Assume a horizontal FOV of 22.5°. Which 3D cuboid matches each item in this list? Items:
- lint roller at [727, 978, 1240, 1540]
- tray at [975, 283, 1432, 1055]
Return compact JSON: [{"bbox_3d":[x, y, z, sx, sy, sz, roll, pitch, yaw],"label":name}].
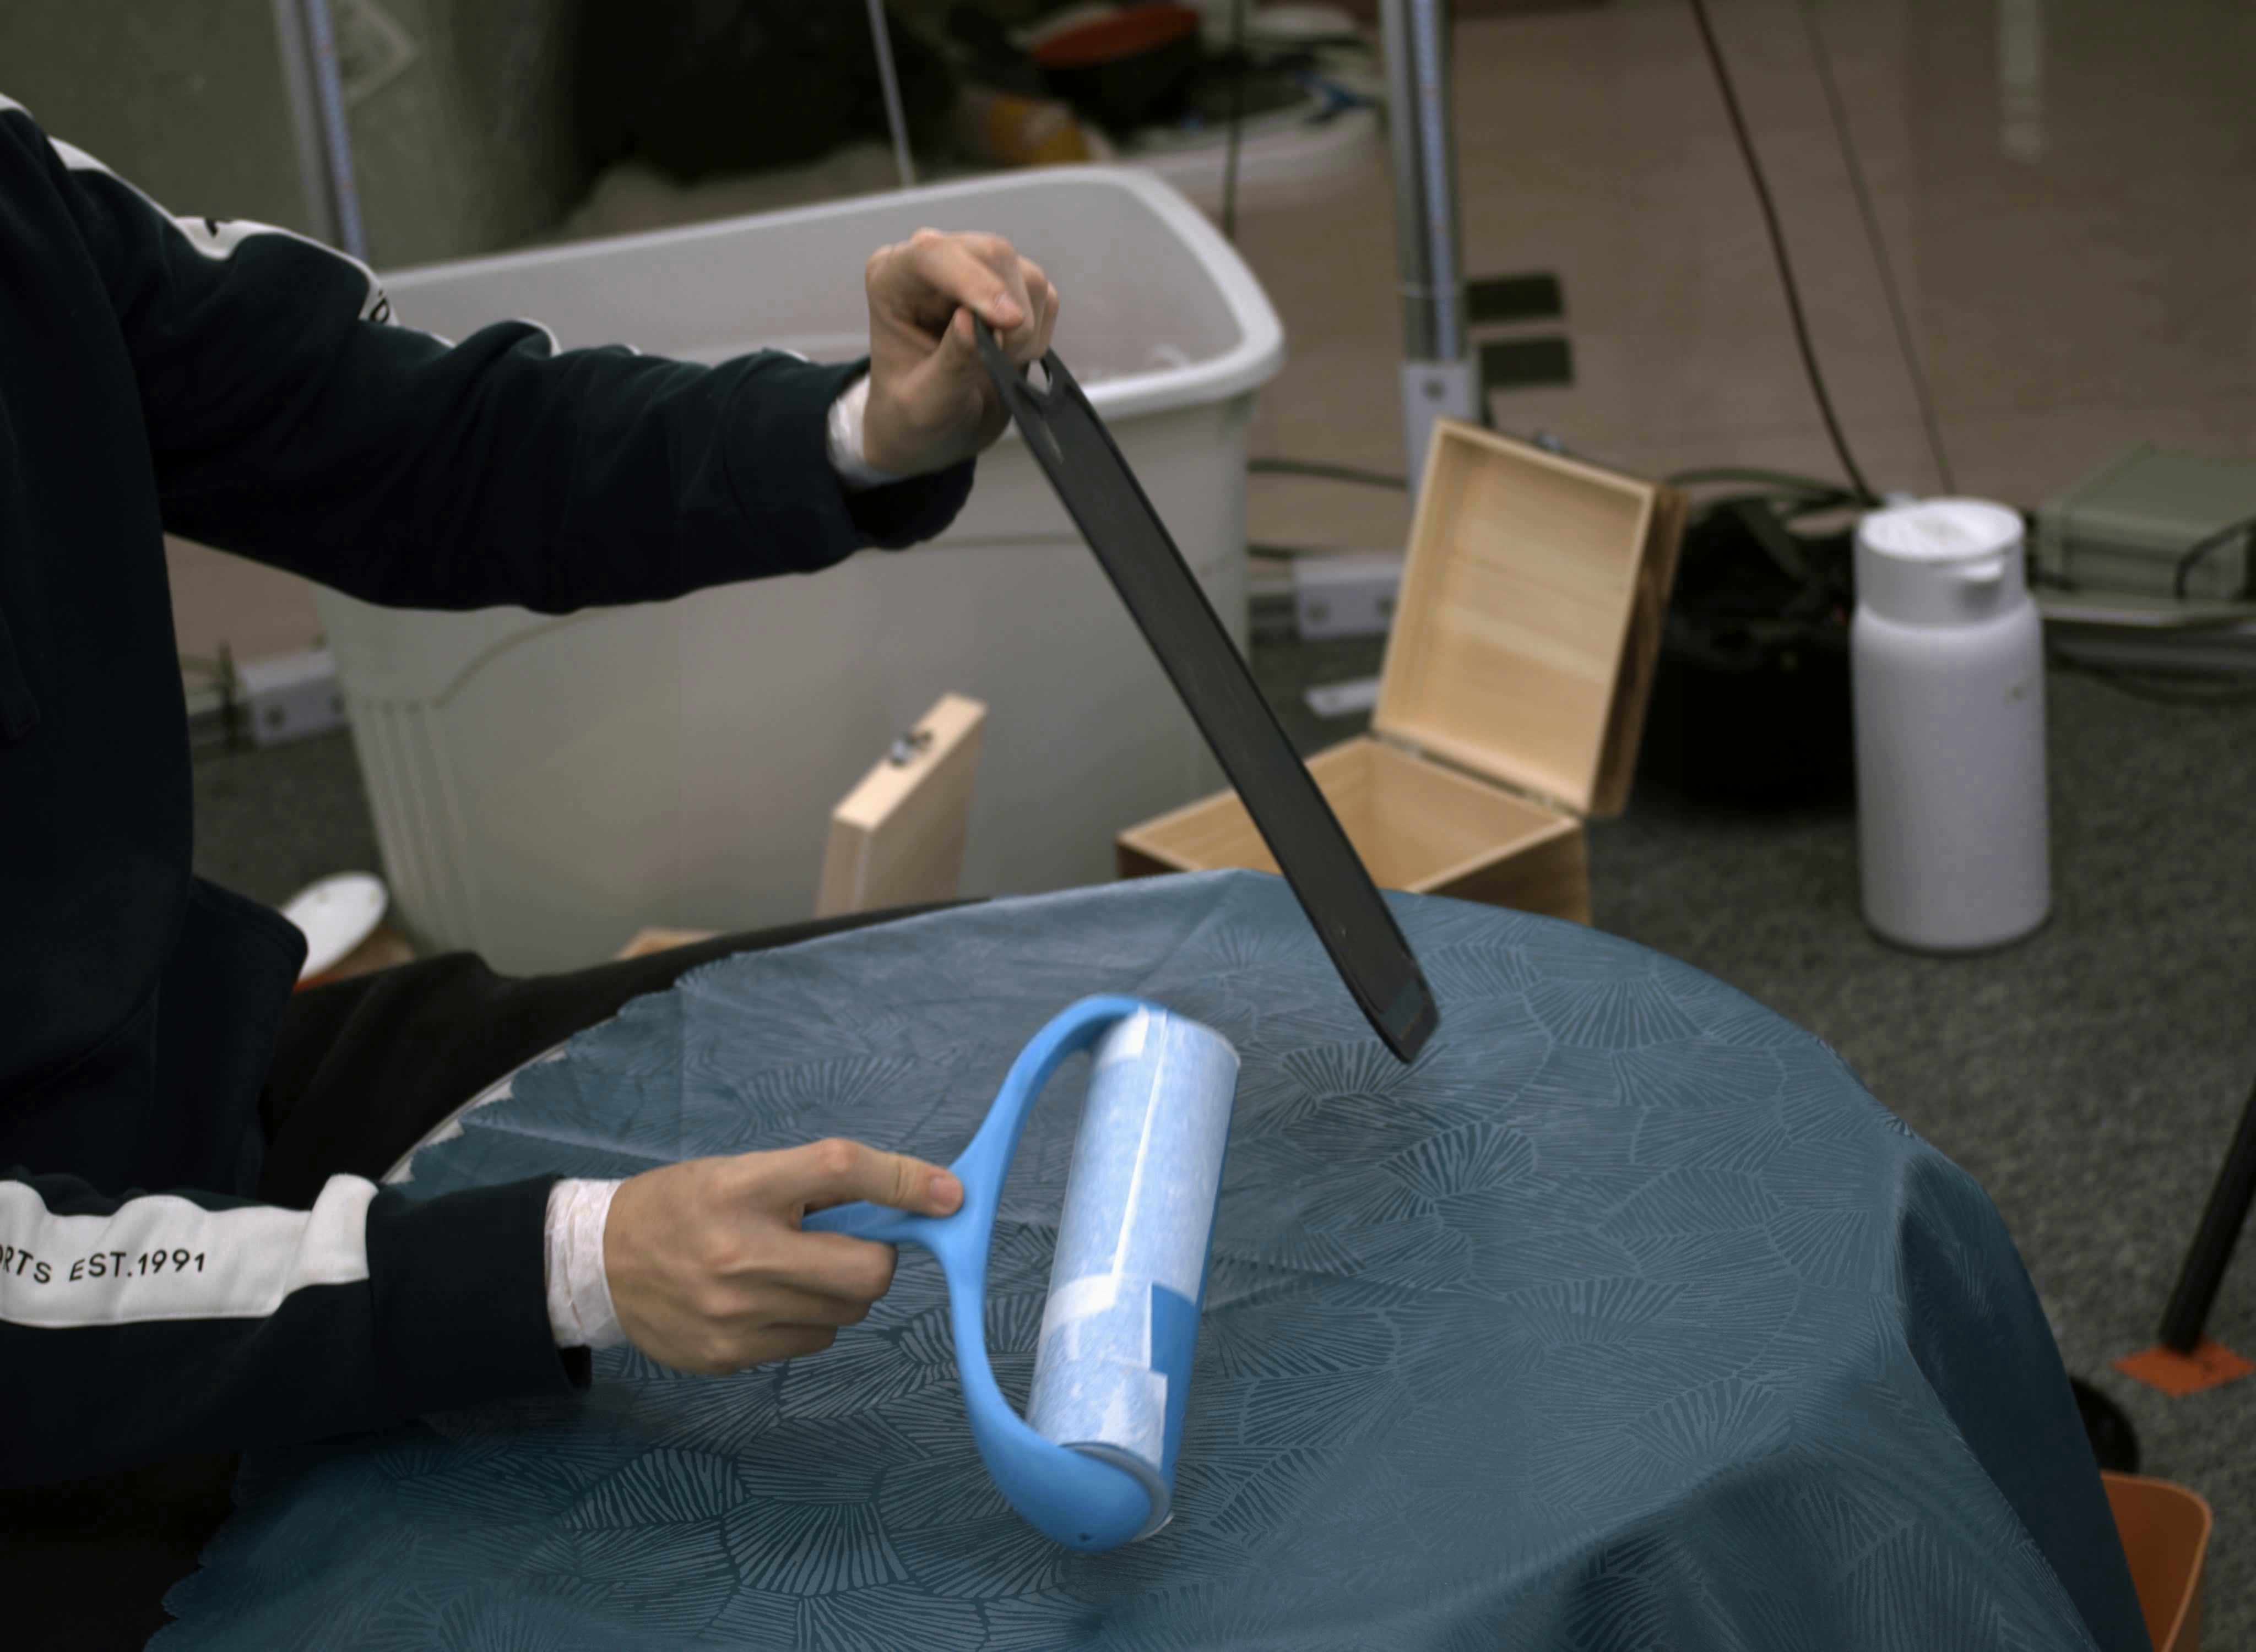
[{"bbox_3d":[-0.056,0.149,1.961,0.180,0.069,0.225,-2,49,8],"label":"lint roller"},{"bbox_3d":[0.029,-0.062,2.107,0.010,0.326,0.210,-30,1,8],"label":"tray"}]
